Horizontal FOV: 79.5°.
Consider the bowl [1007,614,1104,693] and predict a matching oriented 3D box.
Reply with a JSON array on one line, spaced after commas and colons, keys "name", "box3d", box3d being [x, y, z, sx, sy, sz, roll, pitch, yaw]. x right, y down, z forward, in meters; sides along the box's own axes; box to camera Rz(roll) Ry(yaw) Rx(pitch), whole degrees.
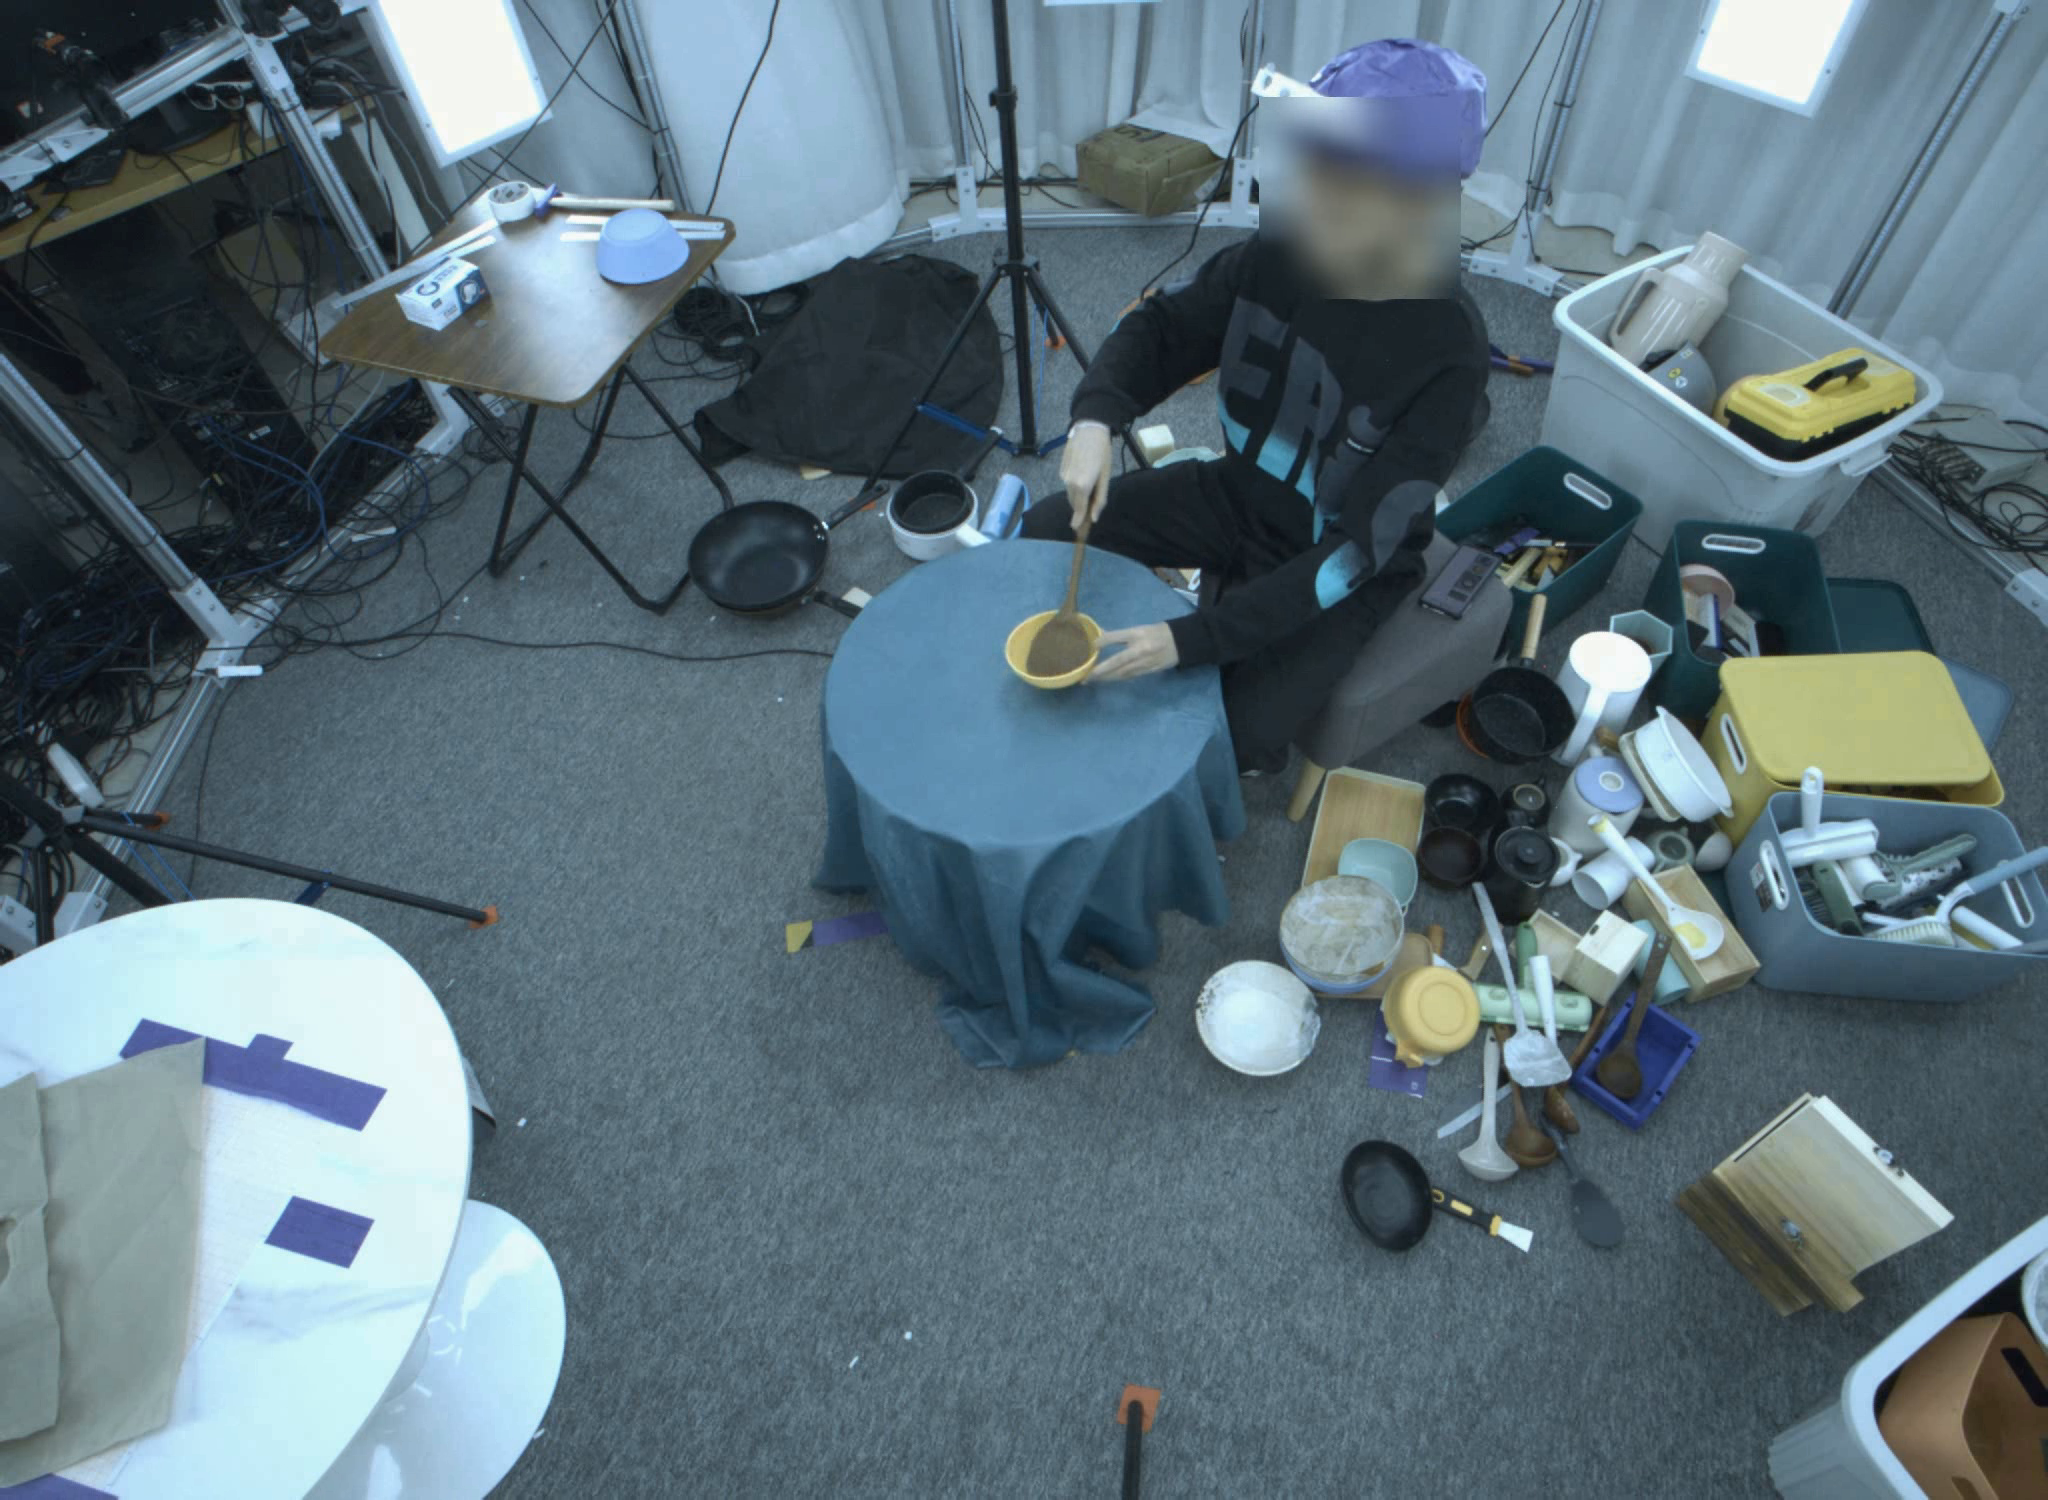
[{"name": "bowl", "box3d": [0.050, -0.132, 1.840, 0.145, 0.061, 0.144, -3, 51, 5]}]

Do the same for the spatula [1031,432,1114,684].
[{"name": "spatula", "box3d": [0.085, -0.287, 1.819, 0.094, 0.016, 0.386, 11, 92, 23]}]
